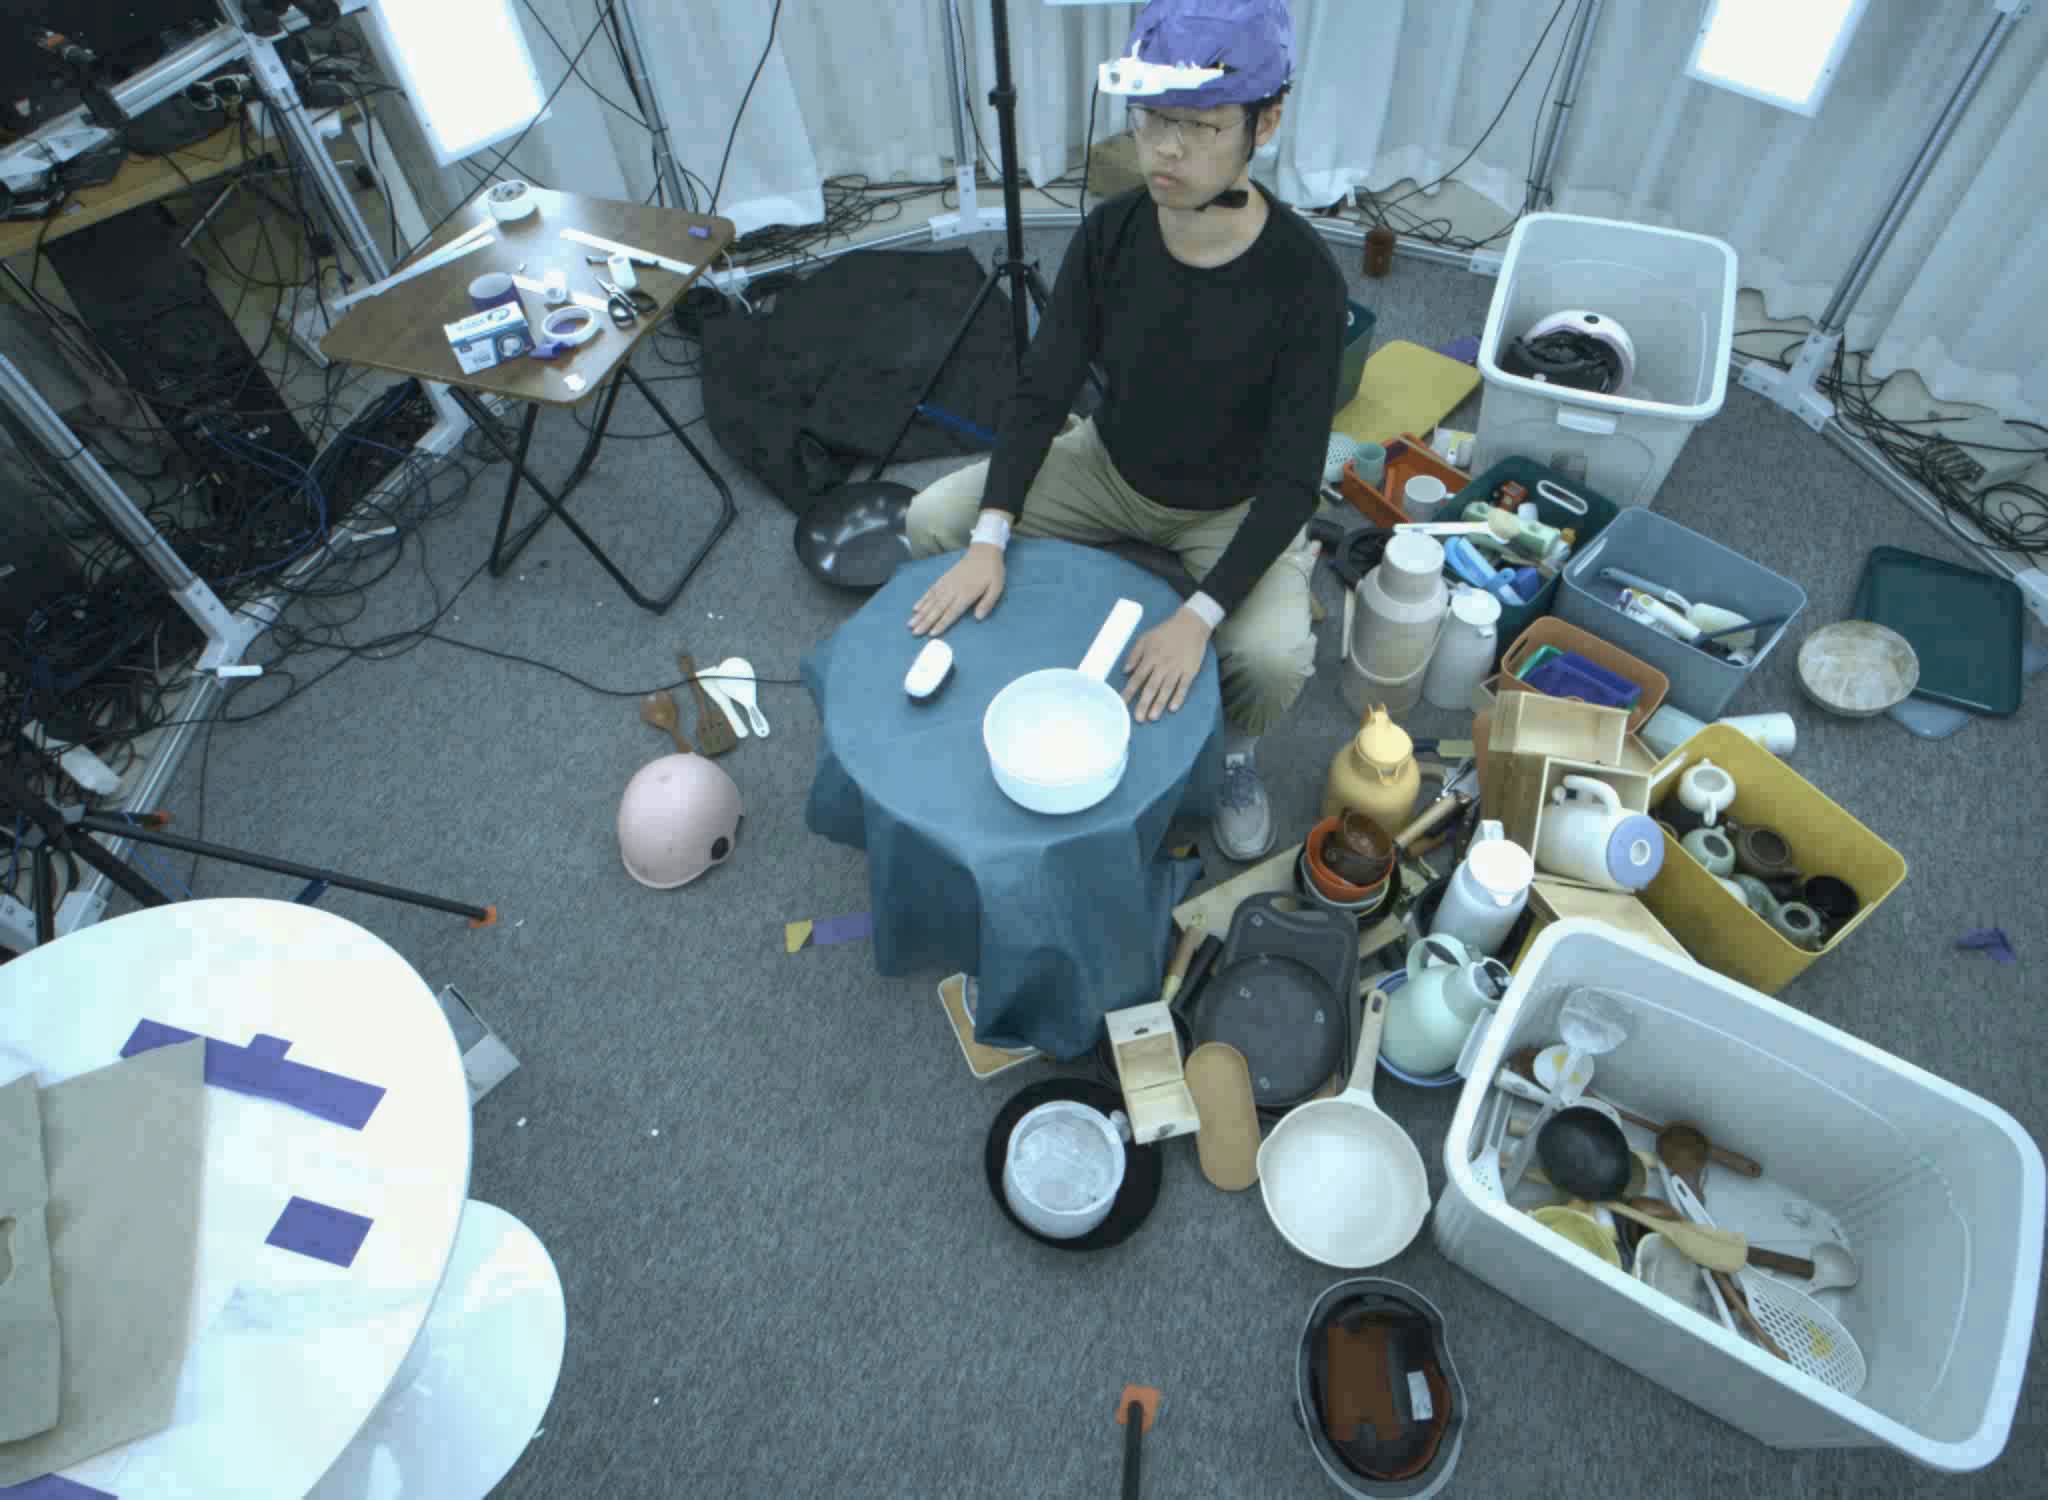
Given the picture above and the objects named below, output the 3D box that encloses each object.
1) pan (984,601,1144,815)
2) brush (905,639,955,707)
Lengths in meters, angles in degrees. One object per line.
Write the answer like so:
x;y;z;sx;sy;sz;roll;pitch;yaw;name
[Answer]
0.082;-0.062;1.771;0.198;0.103;0.355;20;57;18;pan
-0.143;-0.123;1.835;0.049;0.073;0.099;21;59;17;brush
